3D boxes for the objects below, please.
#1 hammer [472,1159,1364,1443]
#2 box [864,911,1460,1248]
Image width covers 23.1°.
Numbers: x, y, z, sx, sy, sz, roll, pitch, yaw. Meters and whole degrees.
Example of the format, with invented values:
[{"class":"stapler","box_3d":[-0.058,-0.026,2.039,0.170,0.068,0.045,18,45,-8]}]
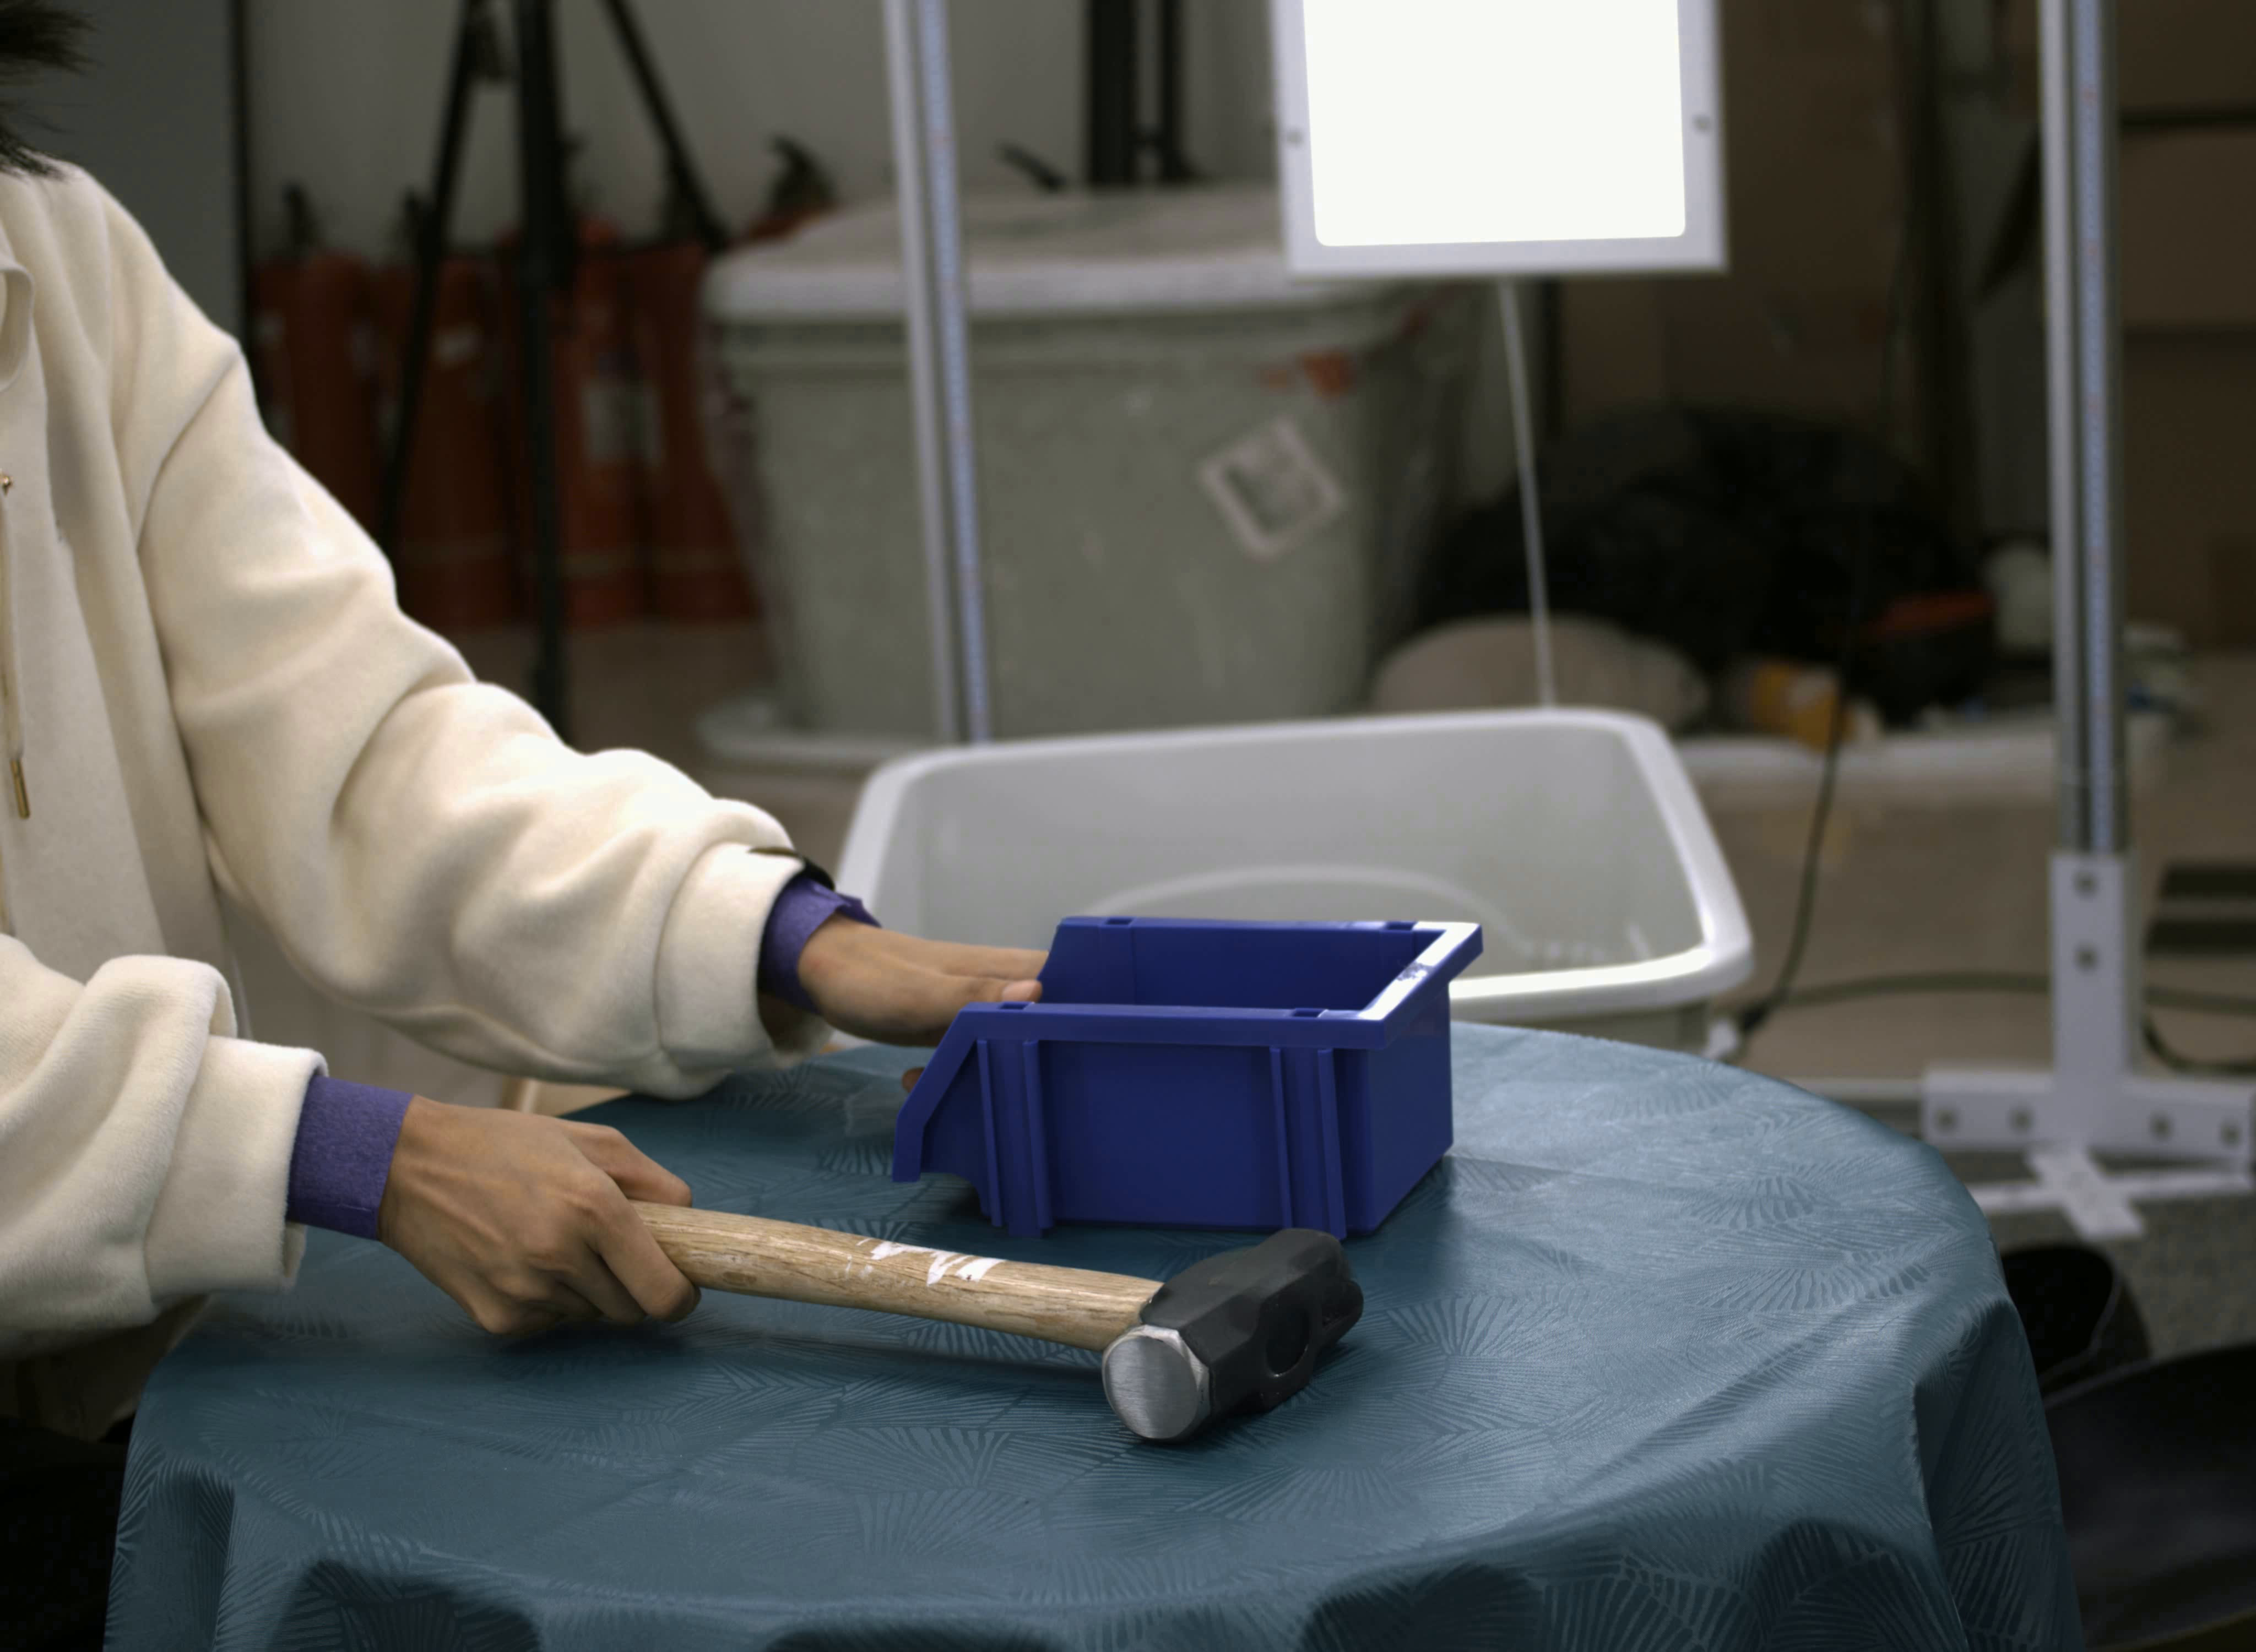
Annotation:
[{"class":"hammer","box_3d":[-0.081,0.141,1.759,0.311,0.038,0.105,7,17,33]},{"class":"box","box_3d":[0.012,0.086,1.890,0.182,0.082,0.122,3,16,22]}]
